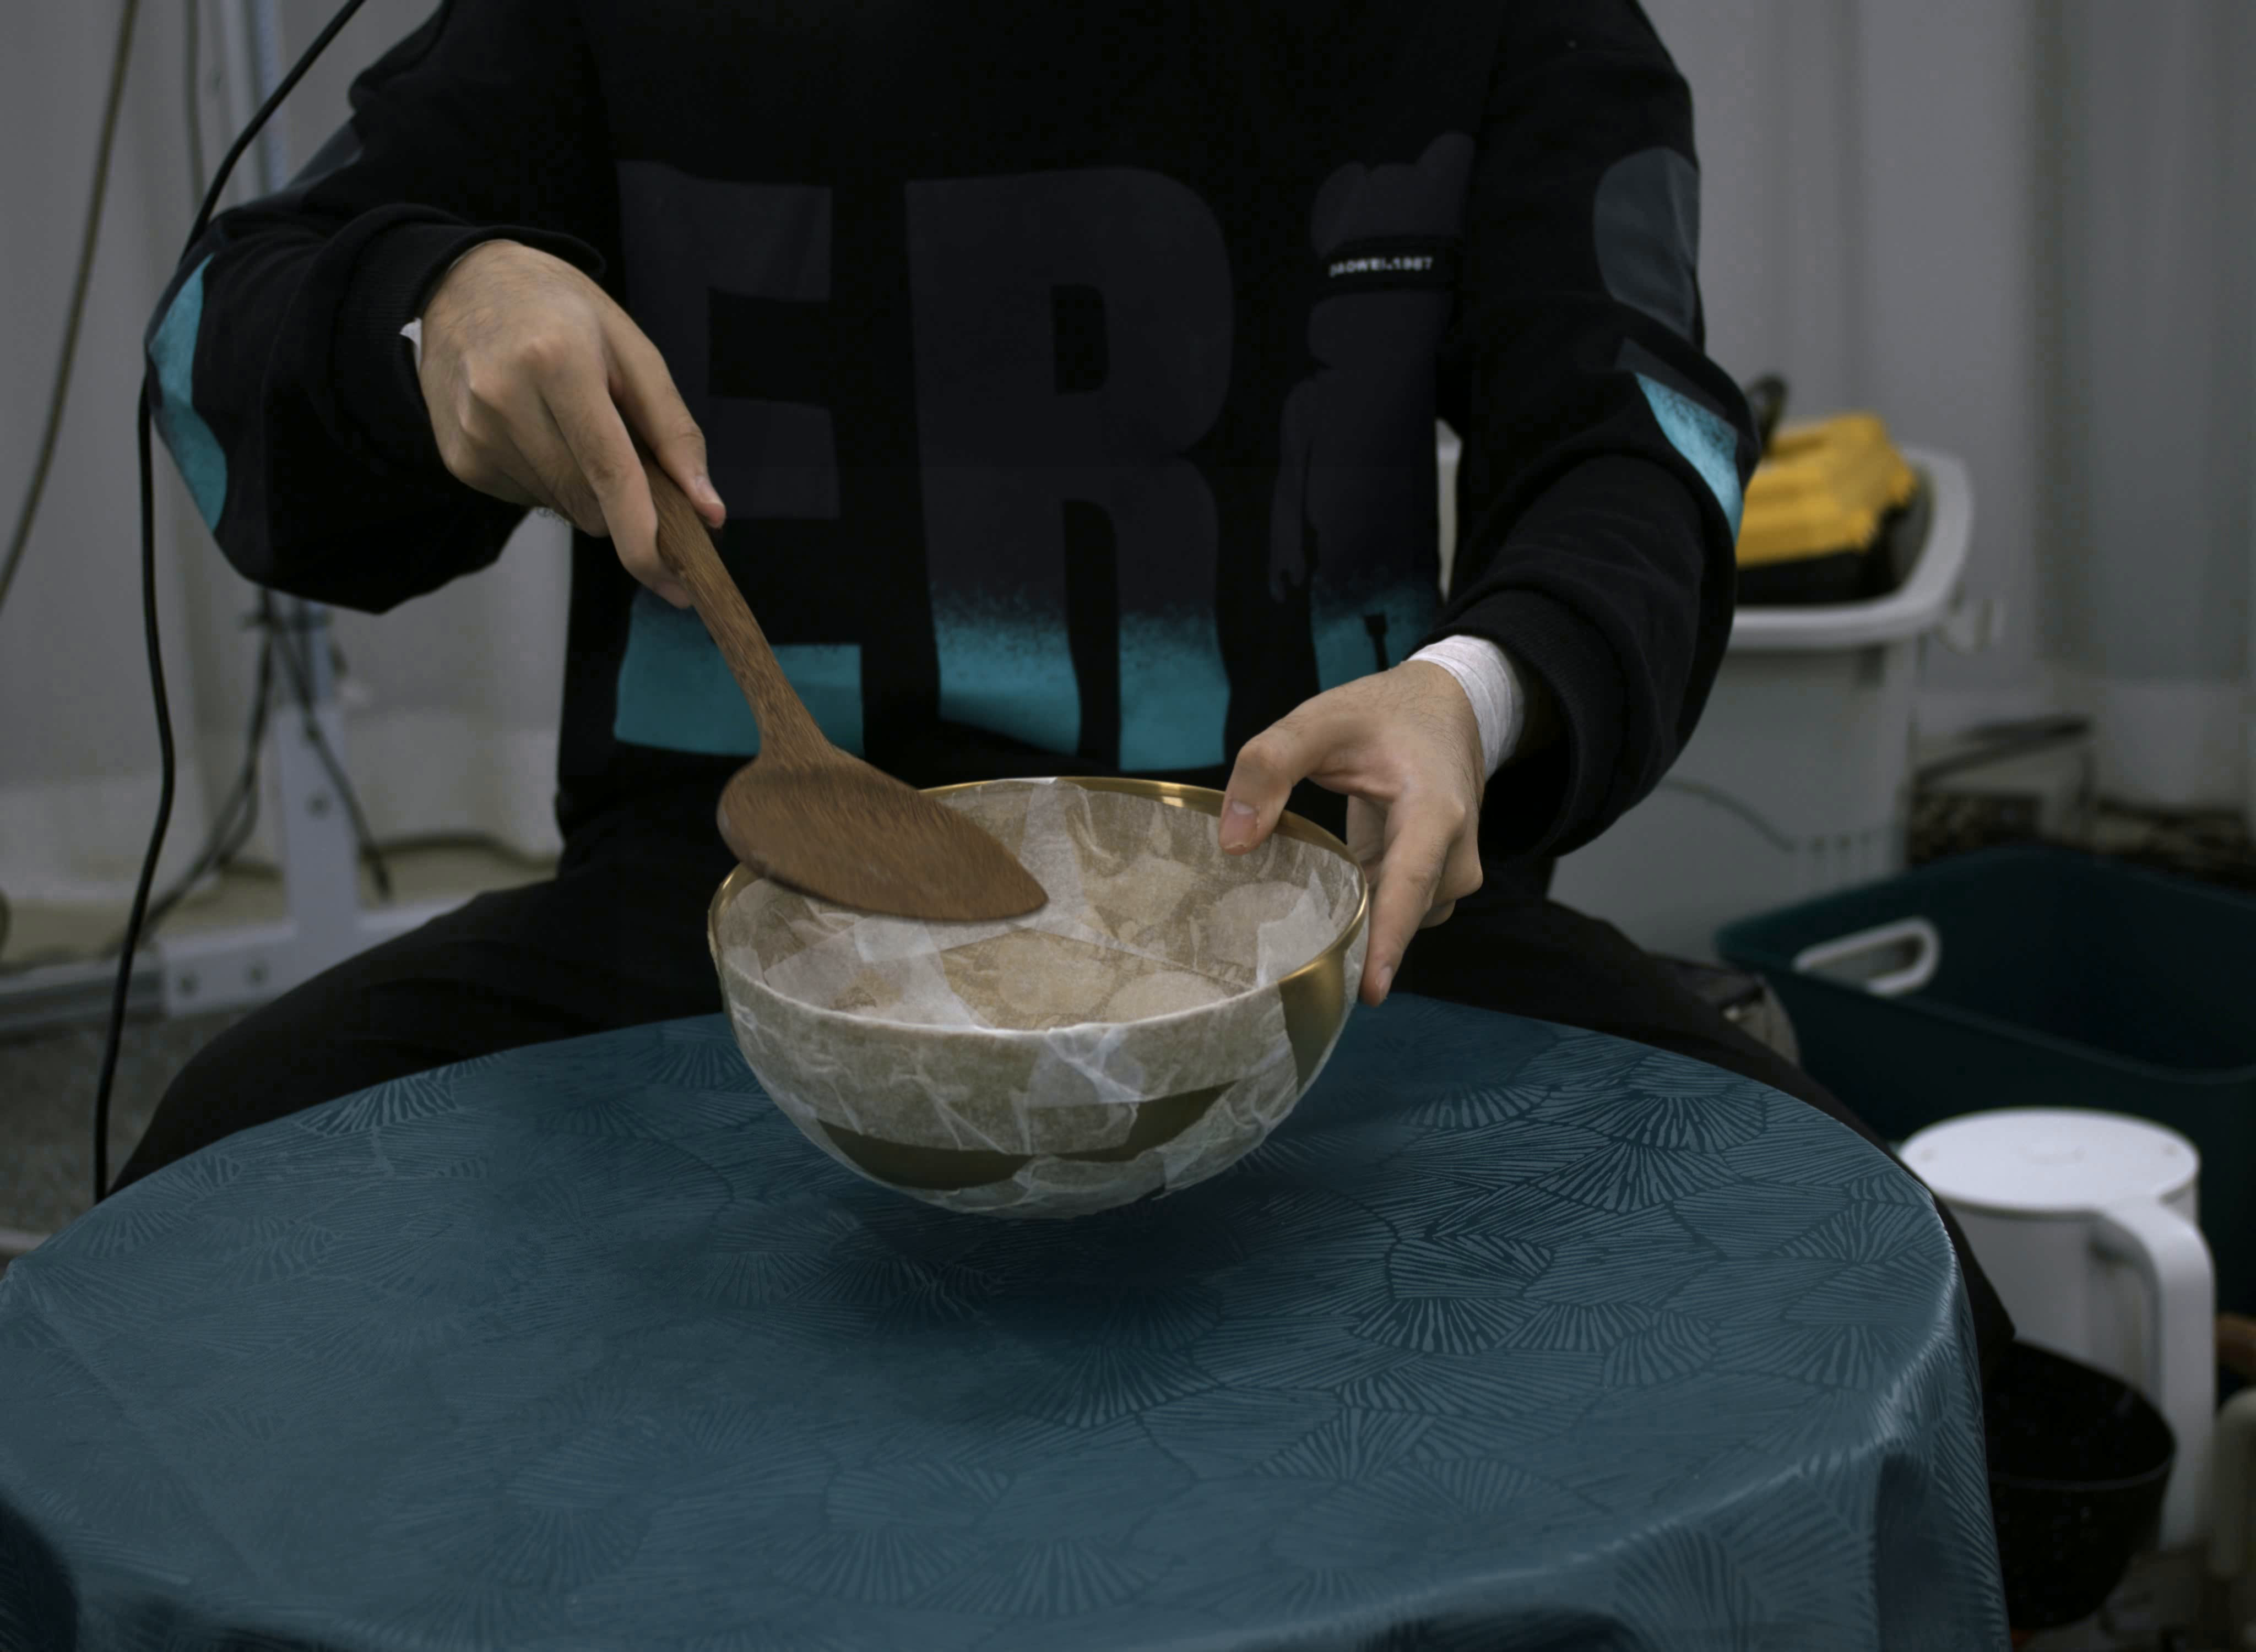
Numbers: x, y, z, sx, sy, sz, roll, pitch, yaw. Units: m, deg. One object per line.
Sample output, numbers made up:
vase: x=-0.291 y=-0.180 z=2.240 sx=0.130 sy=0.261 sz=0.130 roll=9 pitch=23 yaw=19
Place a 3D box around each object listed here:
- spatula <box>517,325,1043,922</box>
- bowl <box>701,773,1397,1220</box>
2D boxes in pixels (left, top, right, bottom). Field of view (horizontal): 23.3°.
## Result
spatula: x=-0.131 y=-0.073 z=1.736 sx=0.095 sy=0.015 sz=0.391 roll=6 pitch=28 yaw=-28
bowl: x=-0.022 y=0.062 z=1.656 sx=0.214 sy=0.094 sz=0.216 roll=-3 pitch=20 yaw=1
